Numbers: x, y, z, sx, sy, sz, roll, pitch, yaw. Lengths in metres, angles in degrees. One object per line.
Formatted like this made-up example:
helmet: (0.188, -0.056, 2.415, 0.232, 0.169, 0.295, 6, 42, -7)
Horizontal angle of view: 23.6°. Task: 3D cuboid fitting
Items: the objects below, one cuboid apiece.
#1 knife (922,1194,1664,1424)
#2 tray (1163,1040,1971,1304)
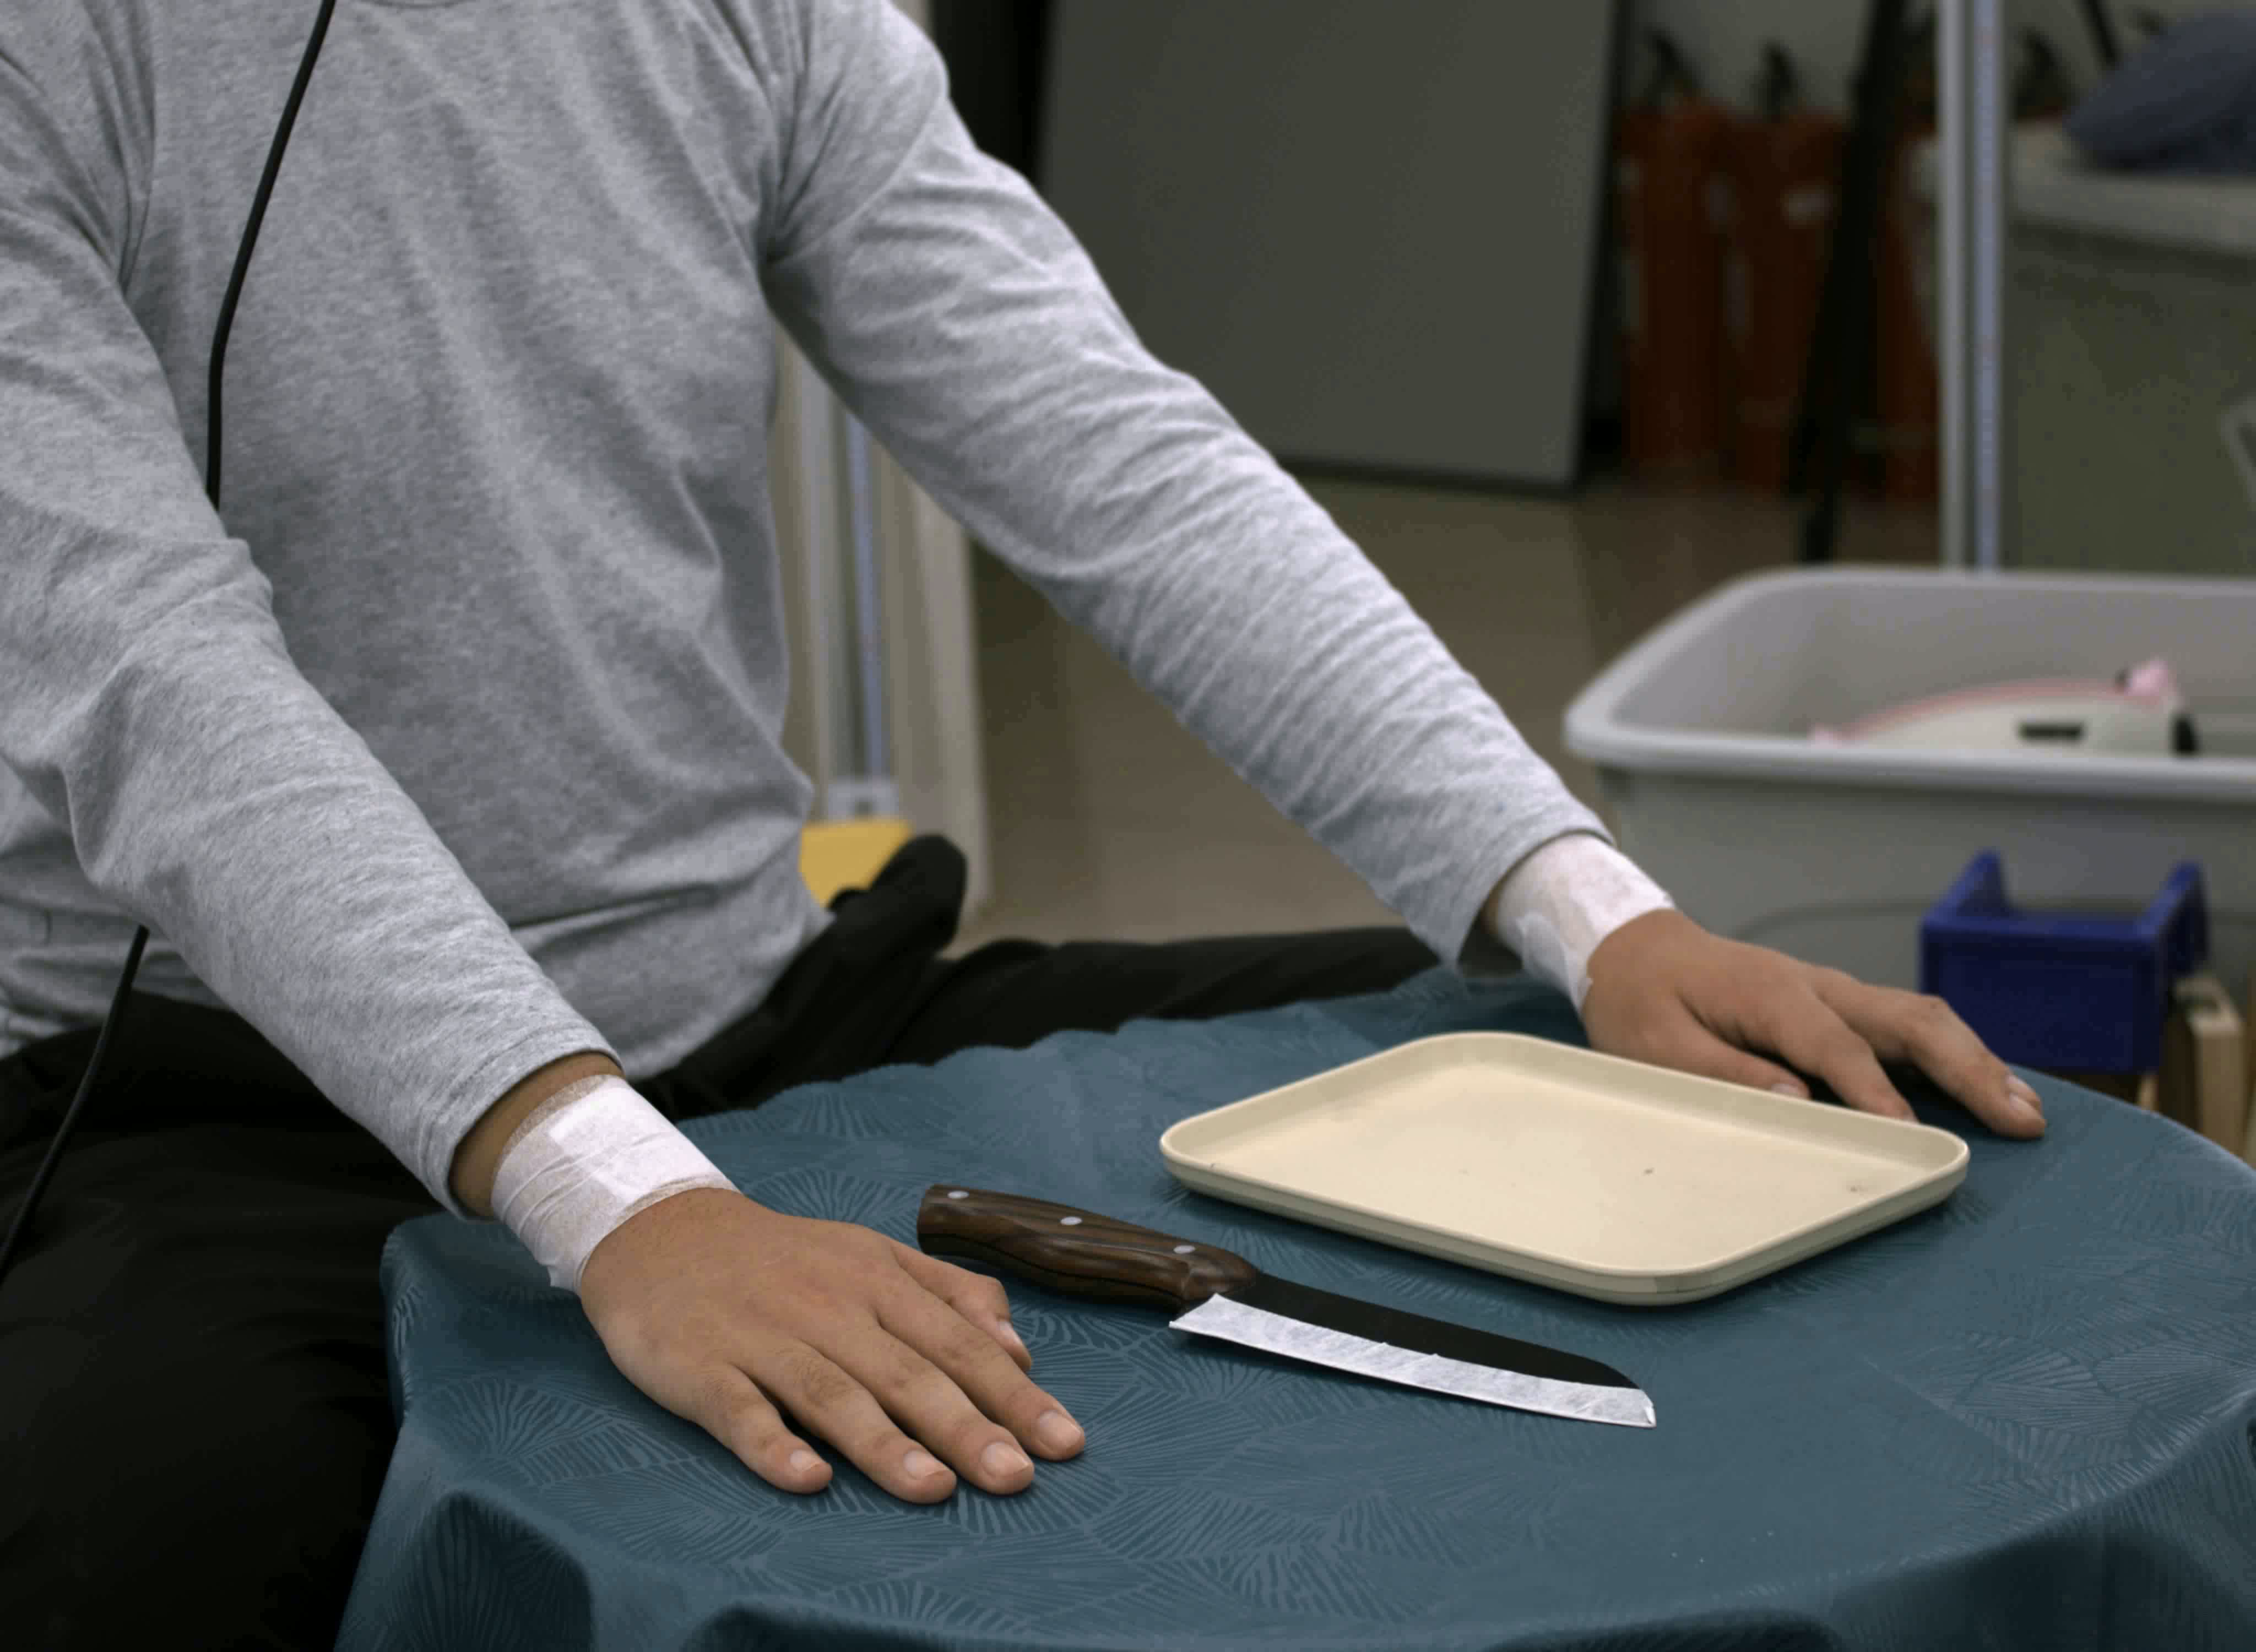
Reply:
knife: (0.045, 0.147, 1.624, 0.291, 0.020, 0.049, 11, 25, 41)
tray: (0.140, 0.111, 1.741, 0.167, 0.017, 0.242, -15, 17, -40)
